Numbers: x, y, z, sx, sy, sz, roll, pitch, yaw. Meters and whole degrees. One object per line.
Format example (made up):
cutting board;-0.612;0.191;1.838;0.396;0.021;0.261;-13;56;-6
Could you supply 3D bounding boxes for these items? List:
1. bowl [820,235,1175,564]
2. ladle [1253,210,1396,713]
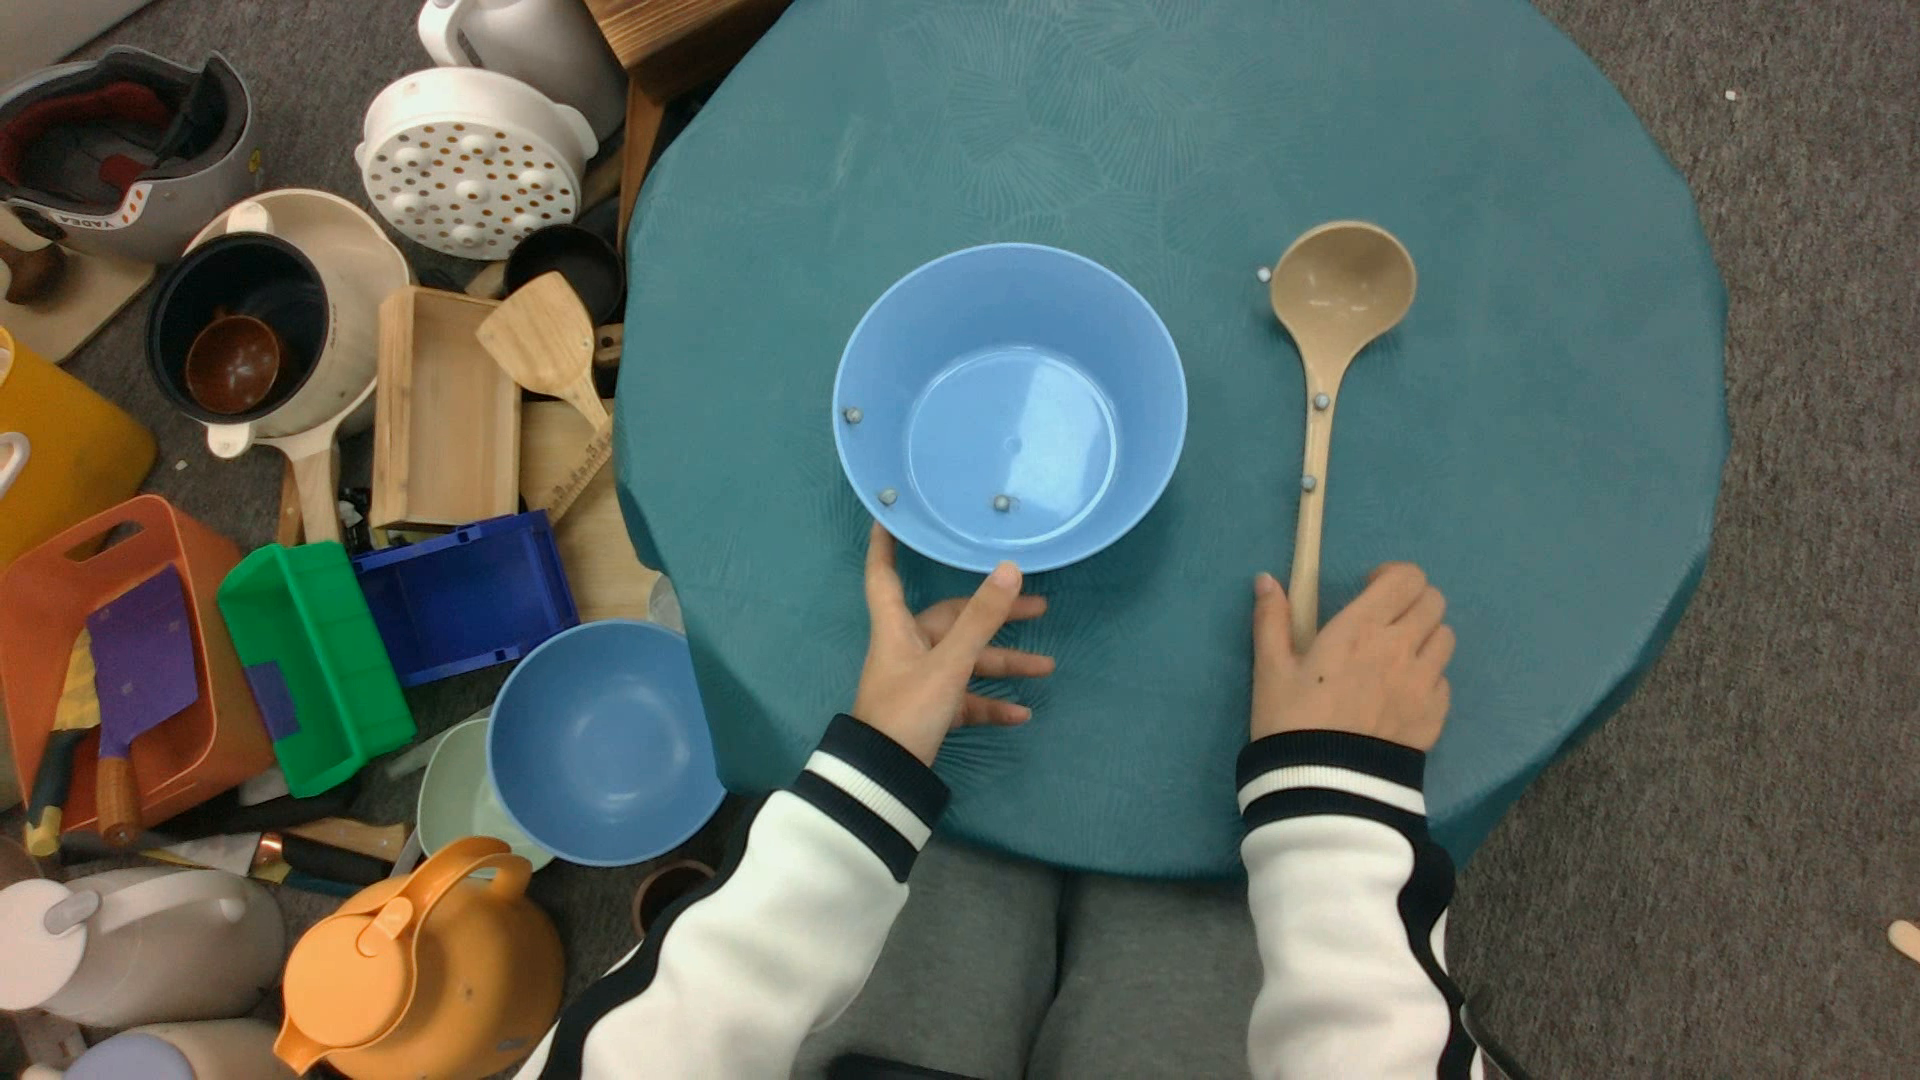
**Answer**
bowl;0.020;-0.063;0.707;0.176;0.070;0.176;-1;72;4
ladle;0.178;-0.044;0.692;0.072;0.072;0.255;6;73;5
